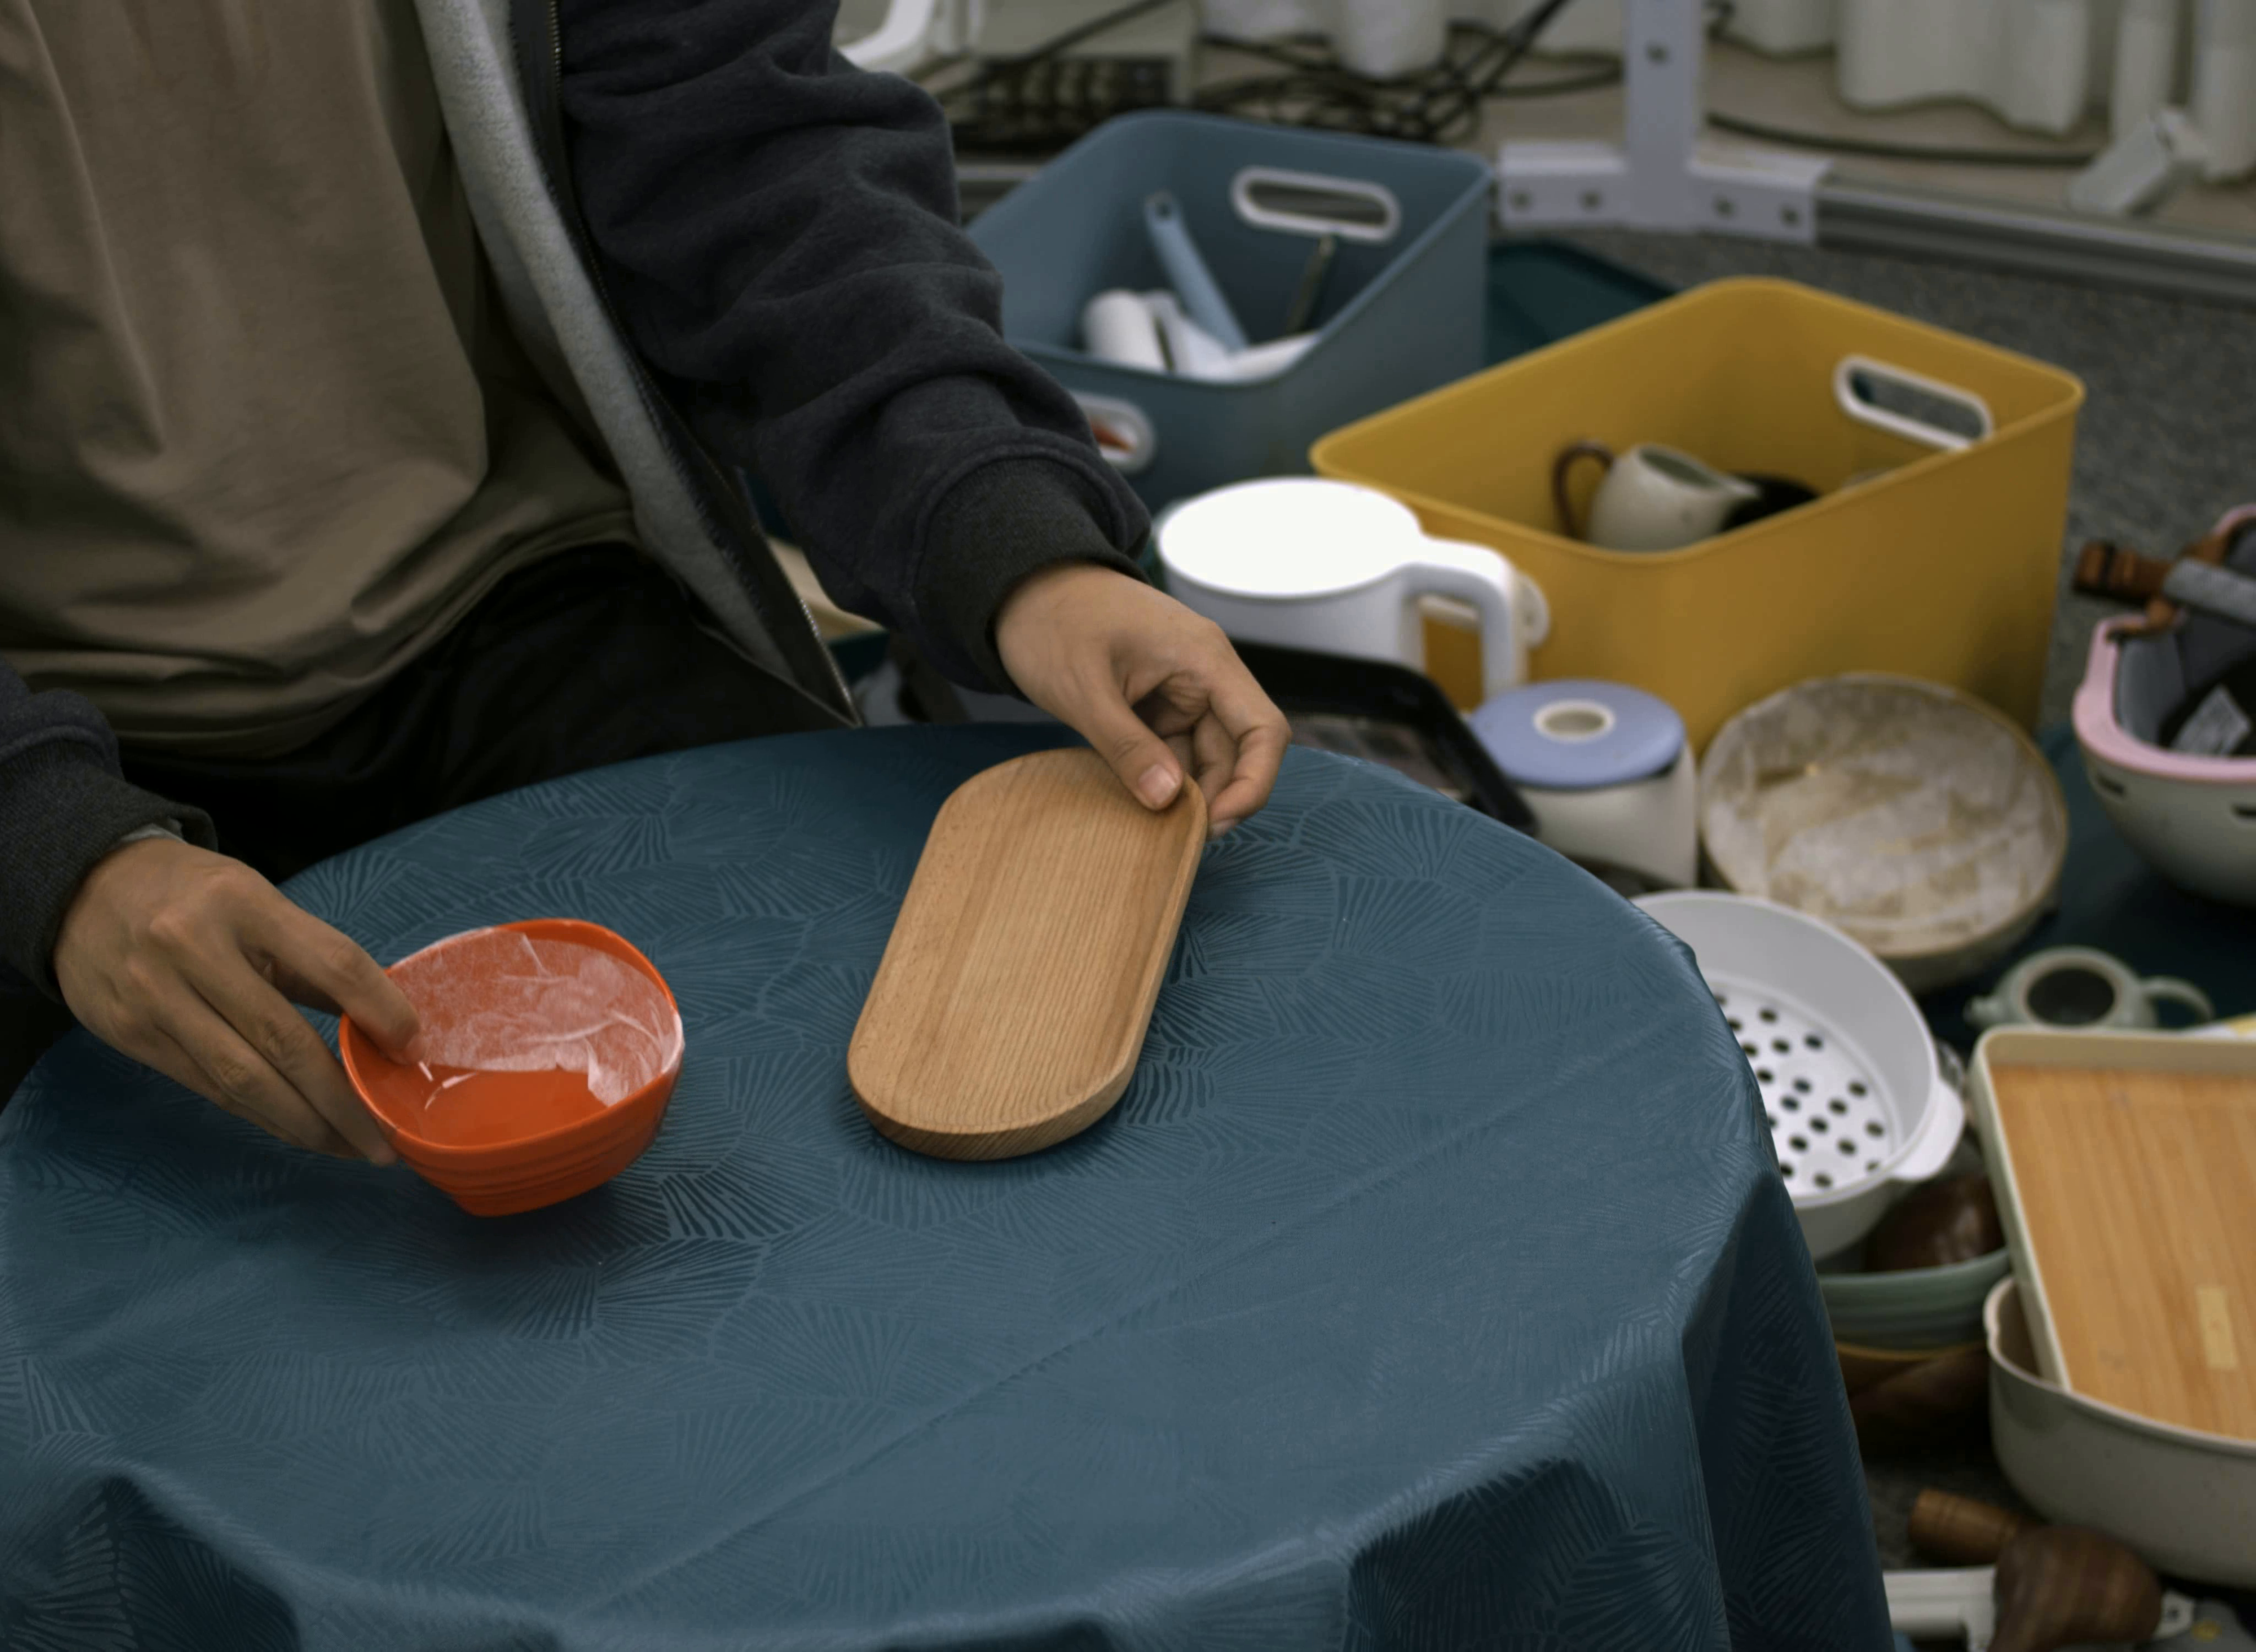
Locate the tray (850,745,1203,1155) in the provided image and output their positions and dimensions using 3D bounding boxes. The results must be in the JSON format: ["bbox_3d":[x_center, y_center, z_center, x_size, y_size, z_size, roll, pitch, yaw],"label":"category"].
[{"bbox_3d":[-0.034,0.041,1.975,0.101,0.020,0.235,1,33,11],"label":"tray"}]

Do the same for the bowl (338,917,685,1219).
[{"bbox_3d":[-0.202,0.087,1.863,0.118,0.050,0.121,-2,38,2],"label":"bowl"}]
